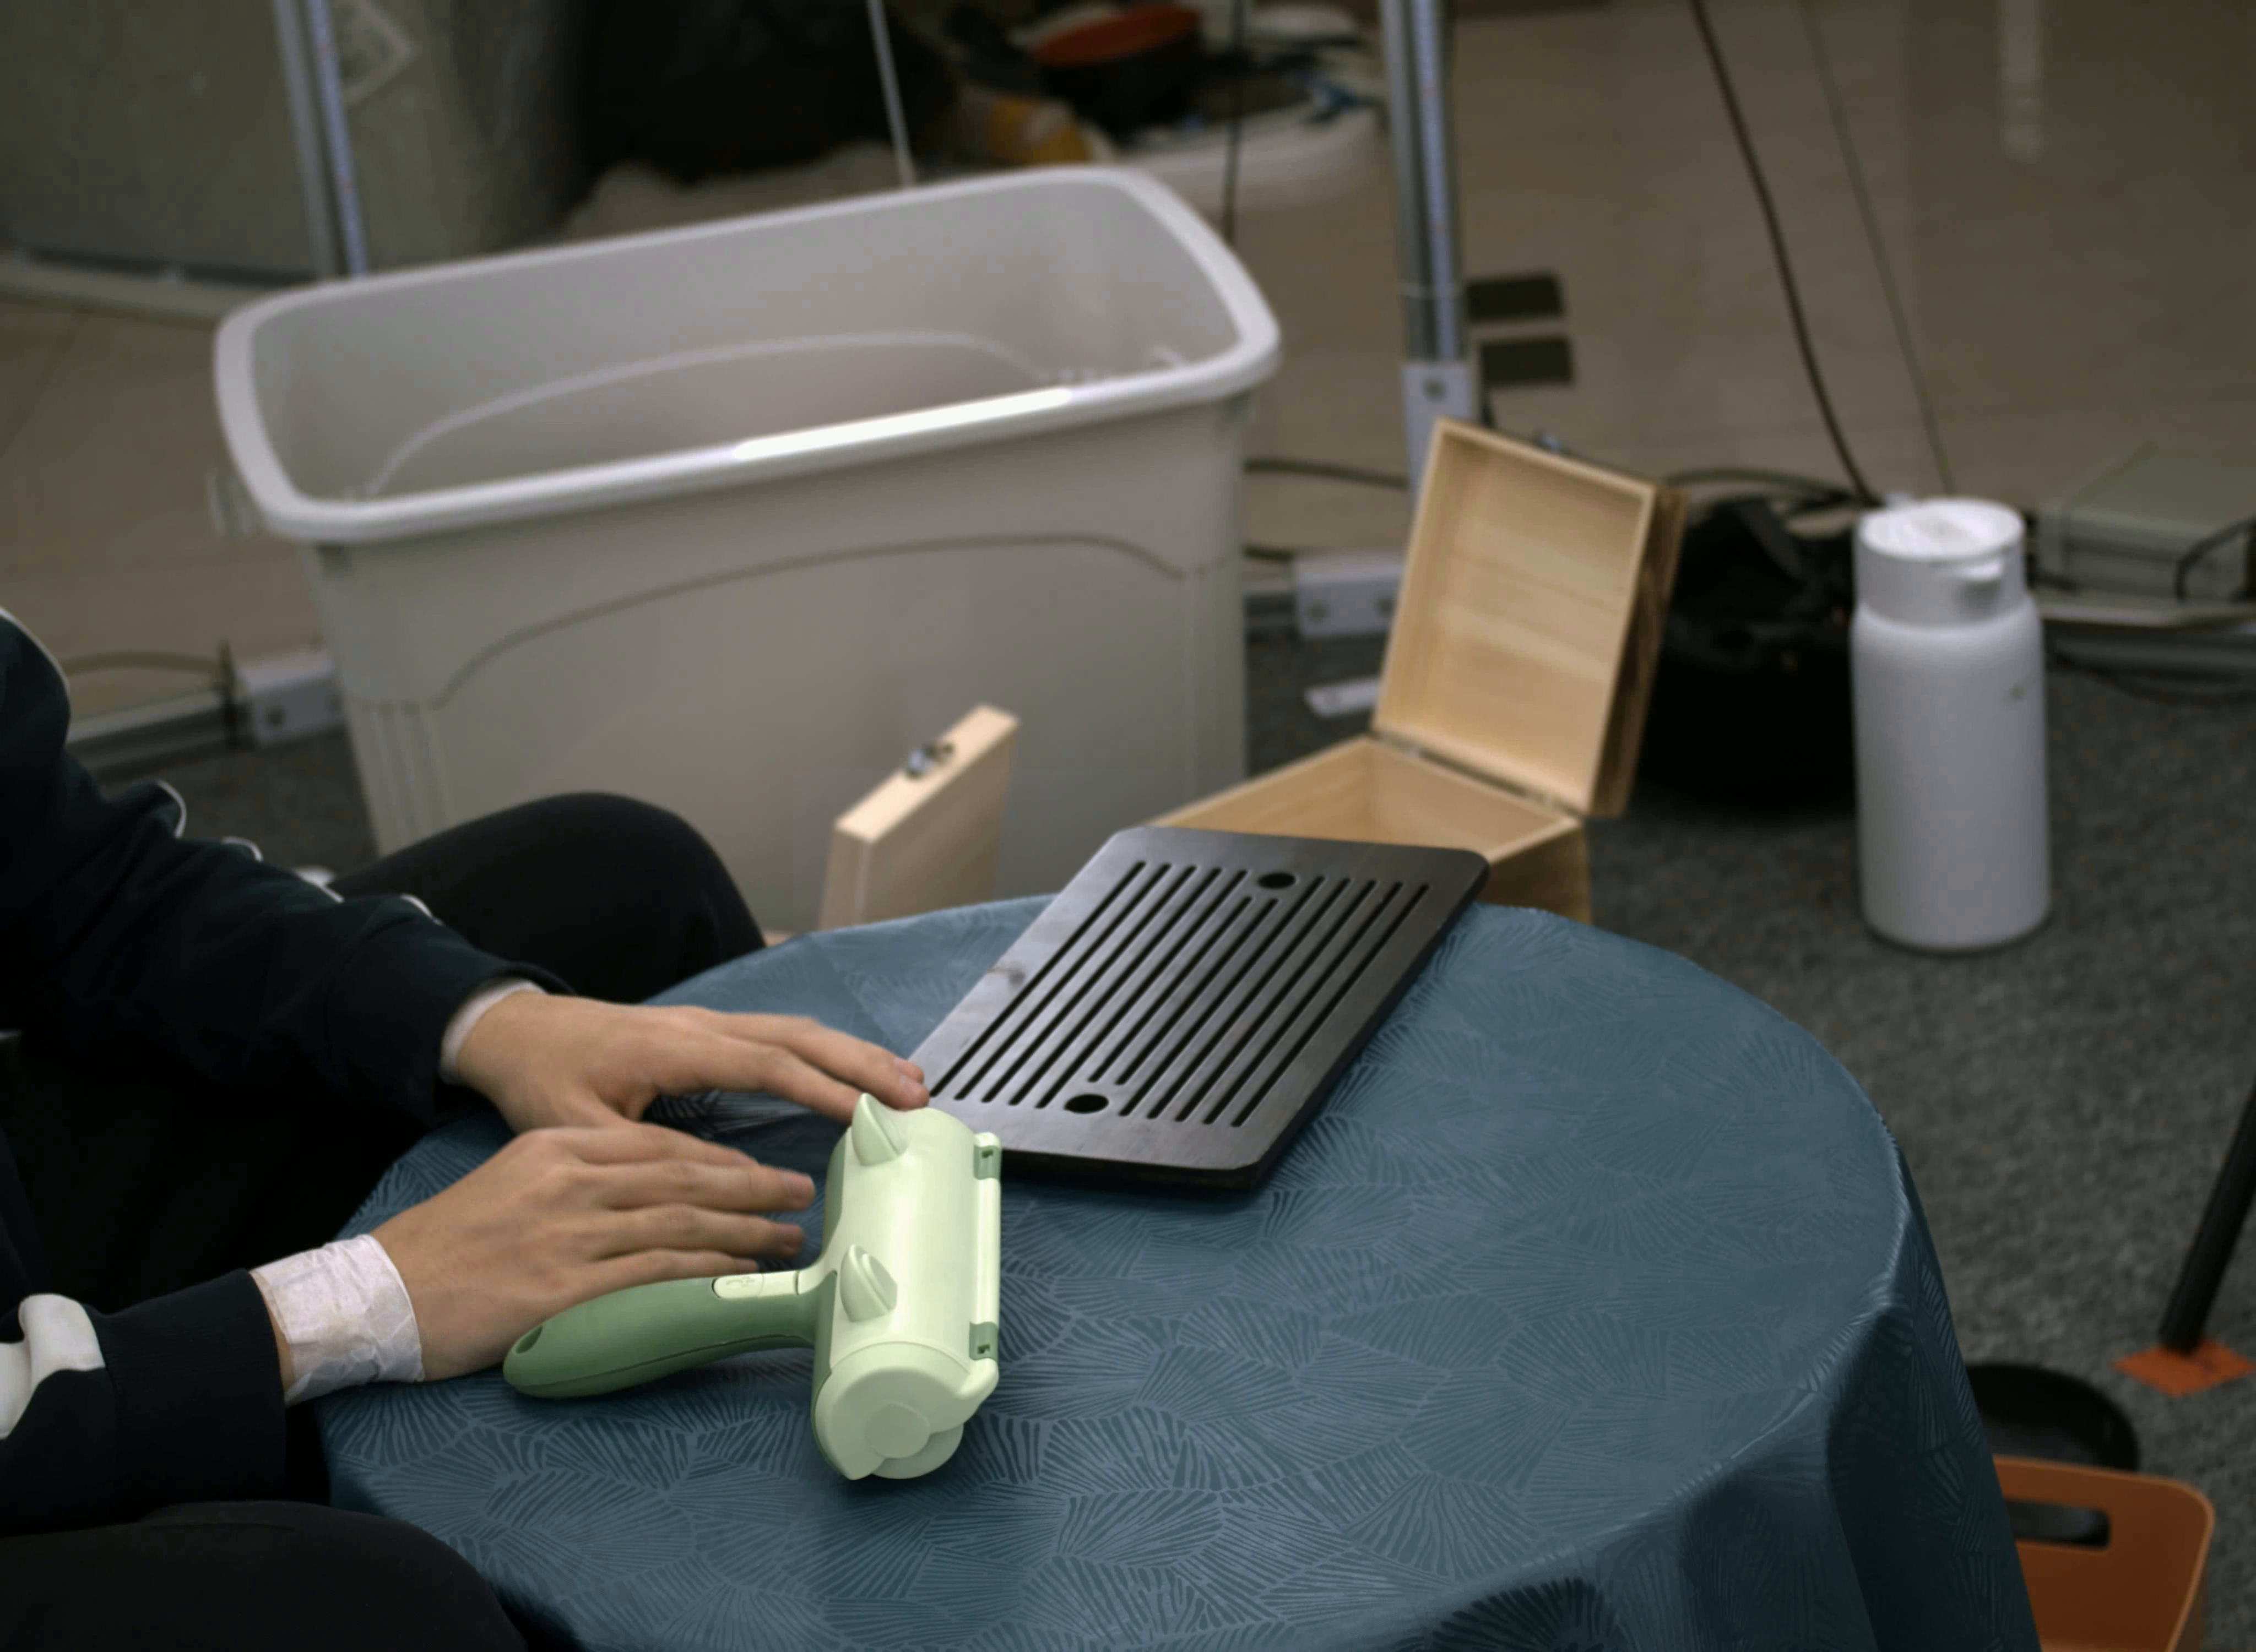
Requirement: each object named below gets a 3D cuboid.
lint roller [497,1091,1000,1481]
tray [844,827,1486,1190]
[{"bbox_3d":[-0.138,0.161,2.034,0.183,0.083,0.195,-3,25,1],"label":"lint roller"},{"bbox_3d":[0.020,0.071,2.273,0.169,0.019,0.302,4,25,22],"label":"tray"}]
